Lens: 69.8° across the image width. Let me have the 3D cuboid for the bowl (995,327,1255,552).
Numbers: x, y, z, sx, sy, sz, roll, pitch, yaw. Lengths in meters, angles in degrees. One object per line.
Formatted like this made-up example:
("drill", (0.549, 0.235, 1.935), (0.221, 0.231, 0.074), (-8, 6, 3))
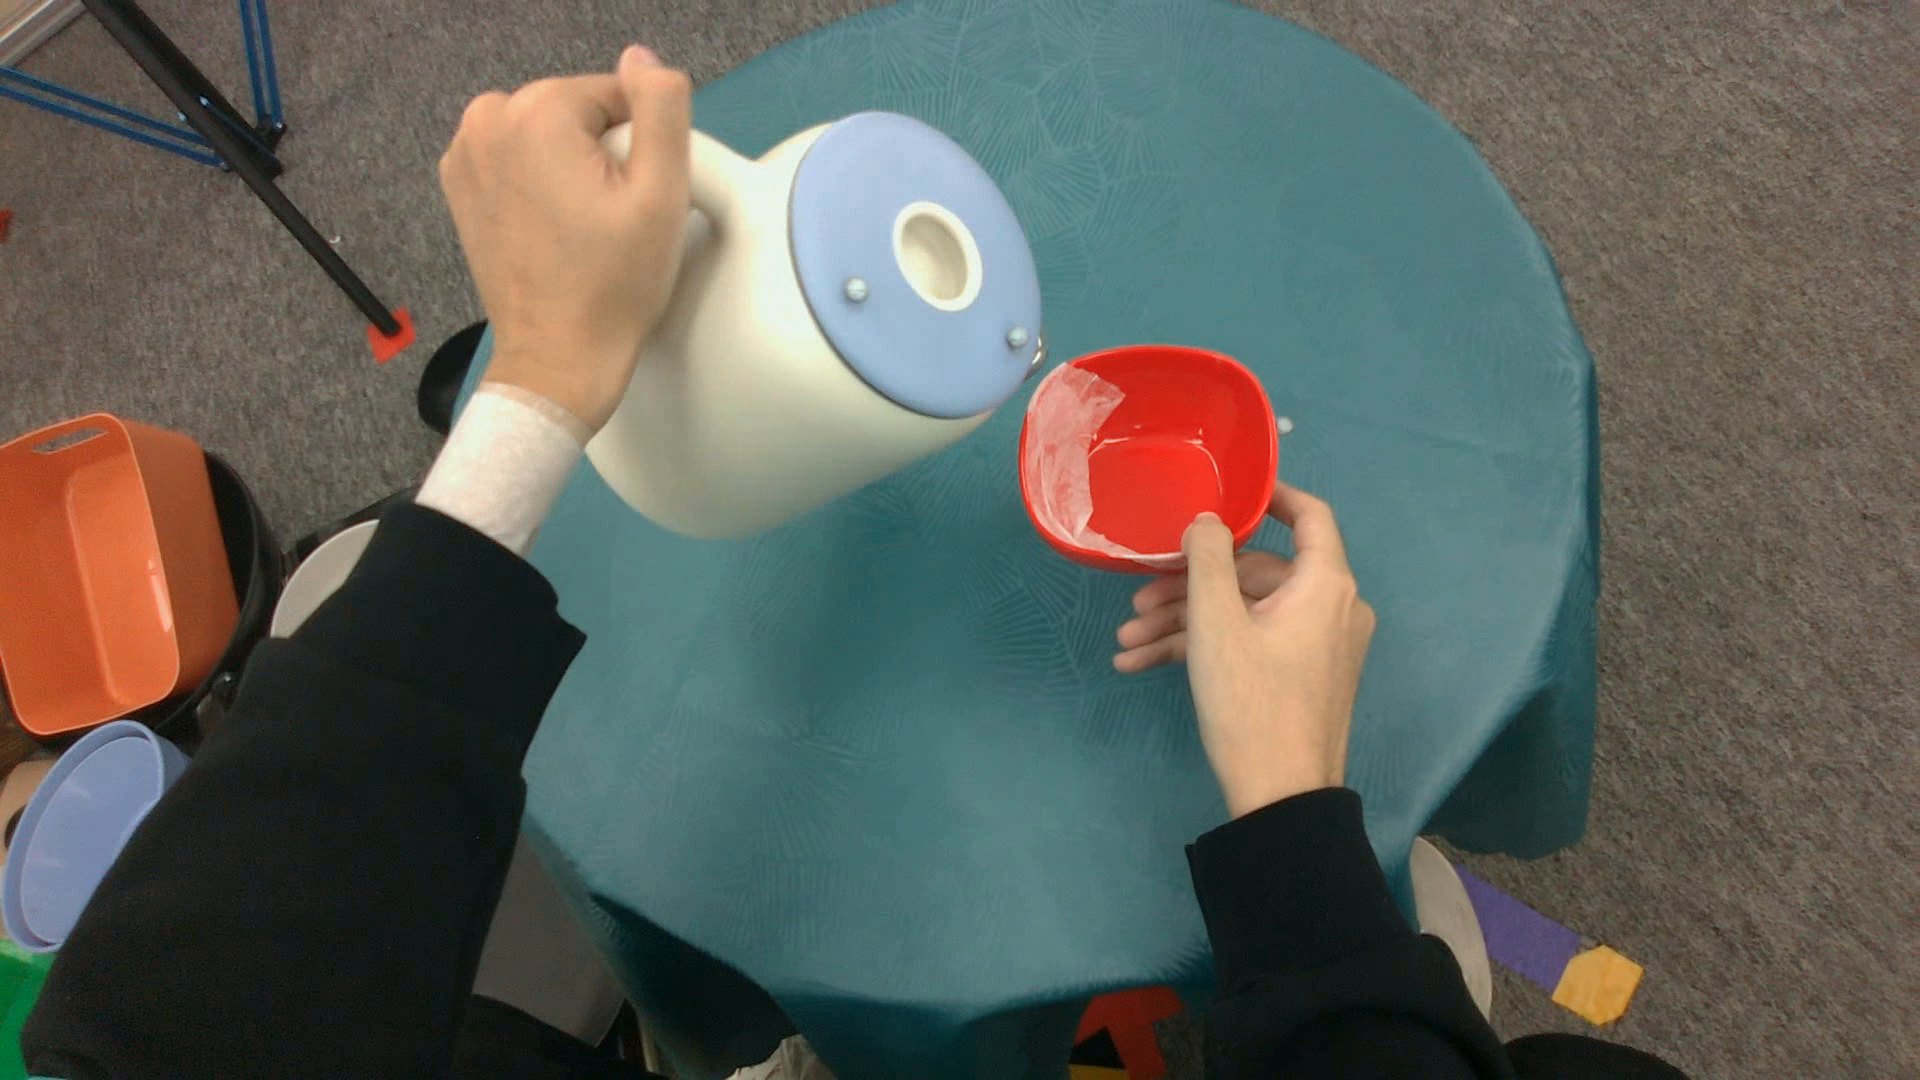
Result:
("bowl", (0.072, -0.036, 0.606), (0.119, 0.051, 0.119), (-3, 57, 4))

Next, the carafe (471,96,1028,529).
("carafe", (-0.095, -0.096, 0.556), (0.181, 0.191, 0.133), (-26, 50, 47))
